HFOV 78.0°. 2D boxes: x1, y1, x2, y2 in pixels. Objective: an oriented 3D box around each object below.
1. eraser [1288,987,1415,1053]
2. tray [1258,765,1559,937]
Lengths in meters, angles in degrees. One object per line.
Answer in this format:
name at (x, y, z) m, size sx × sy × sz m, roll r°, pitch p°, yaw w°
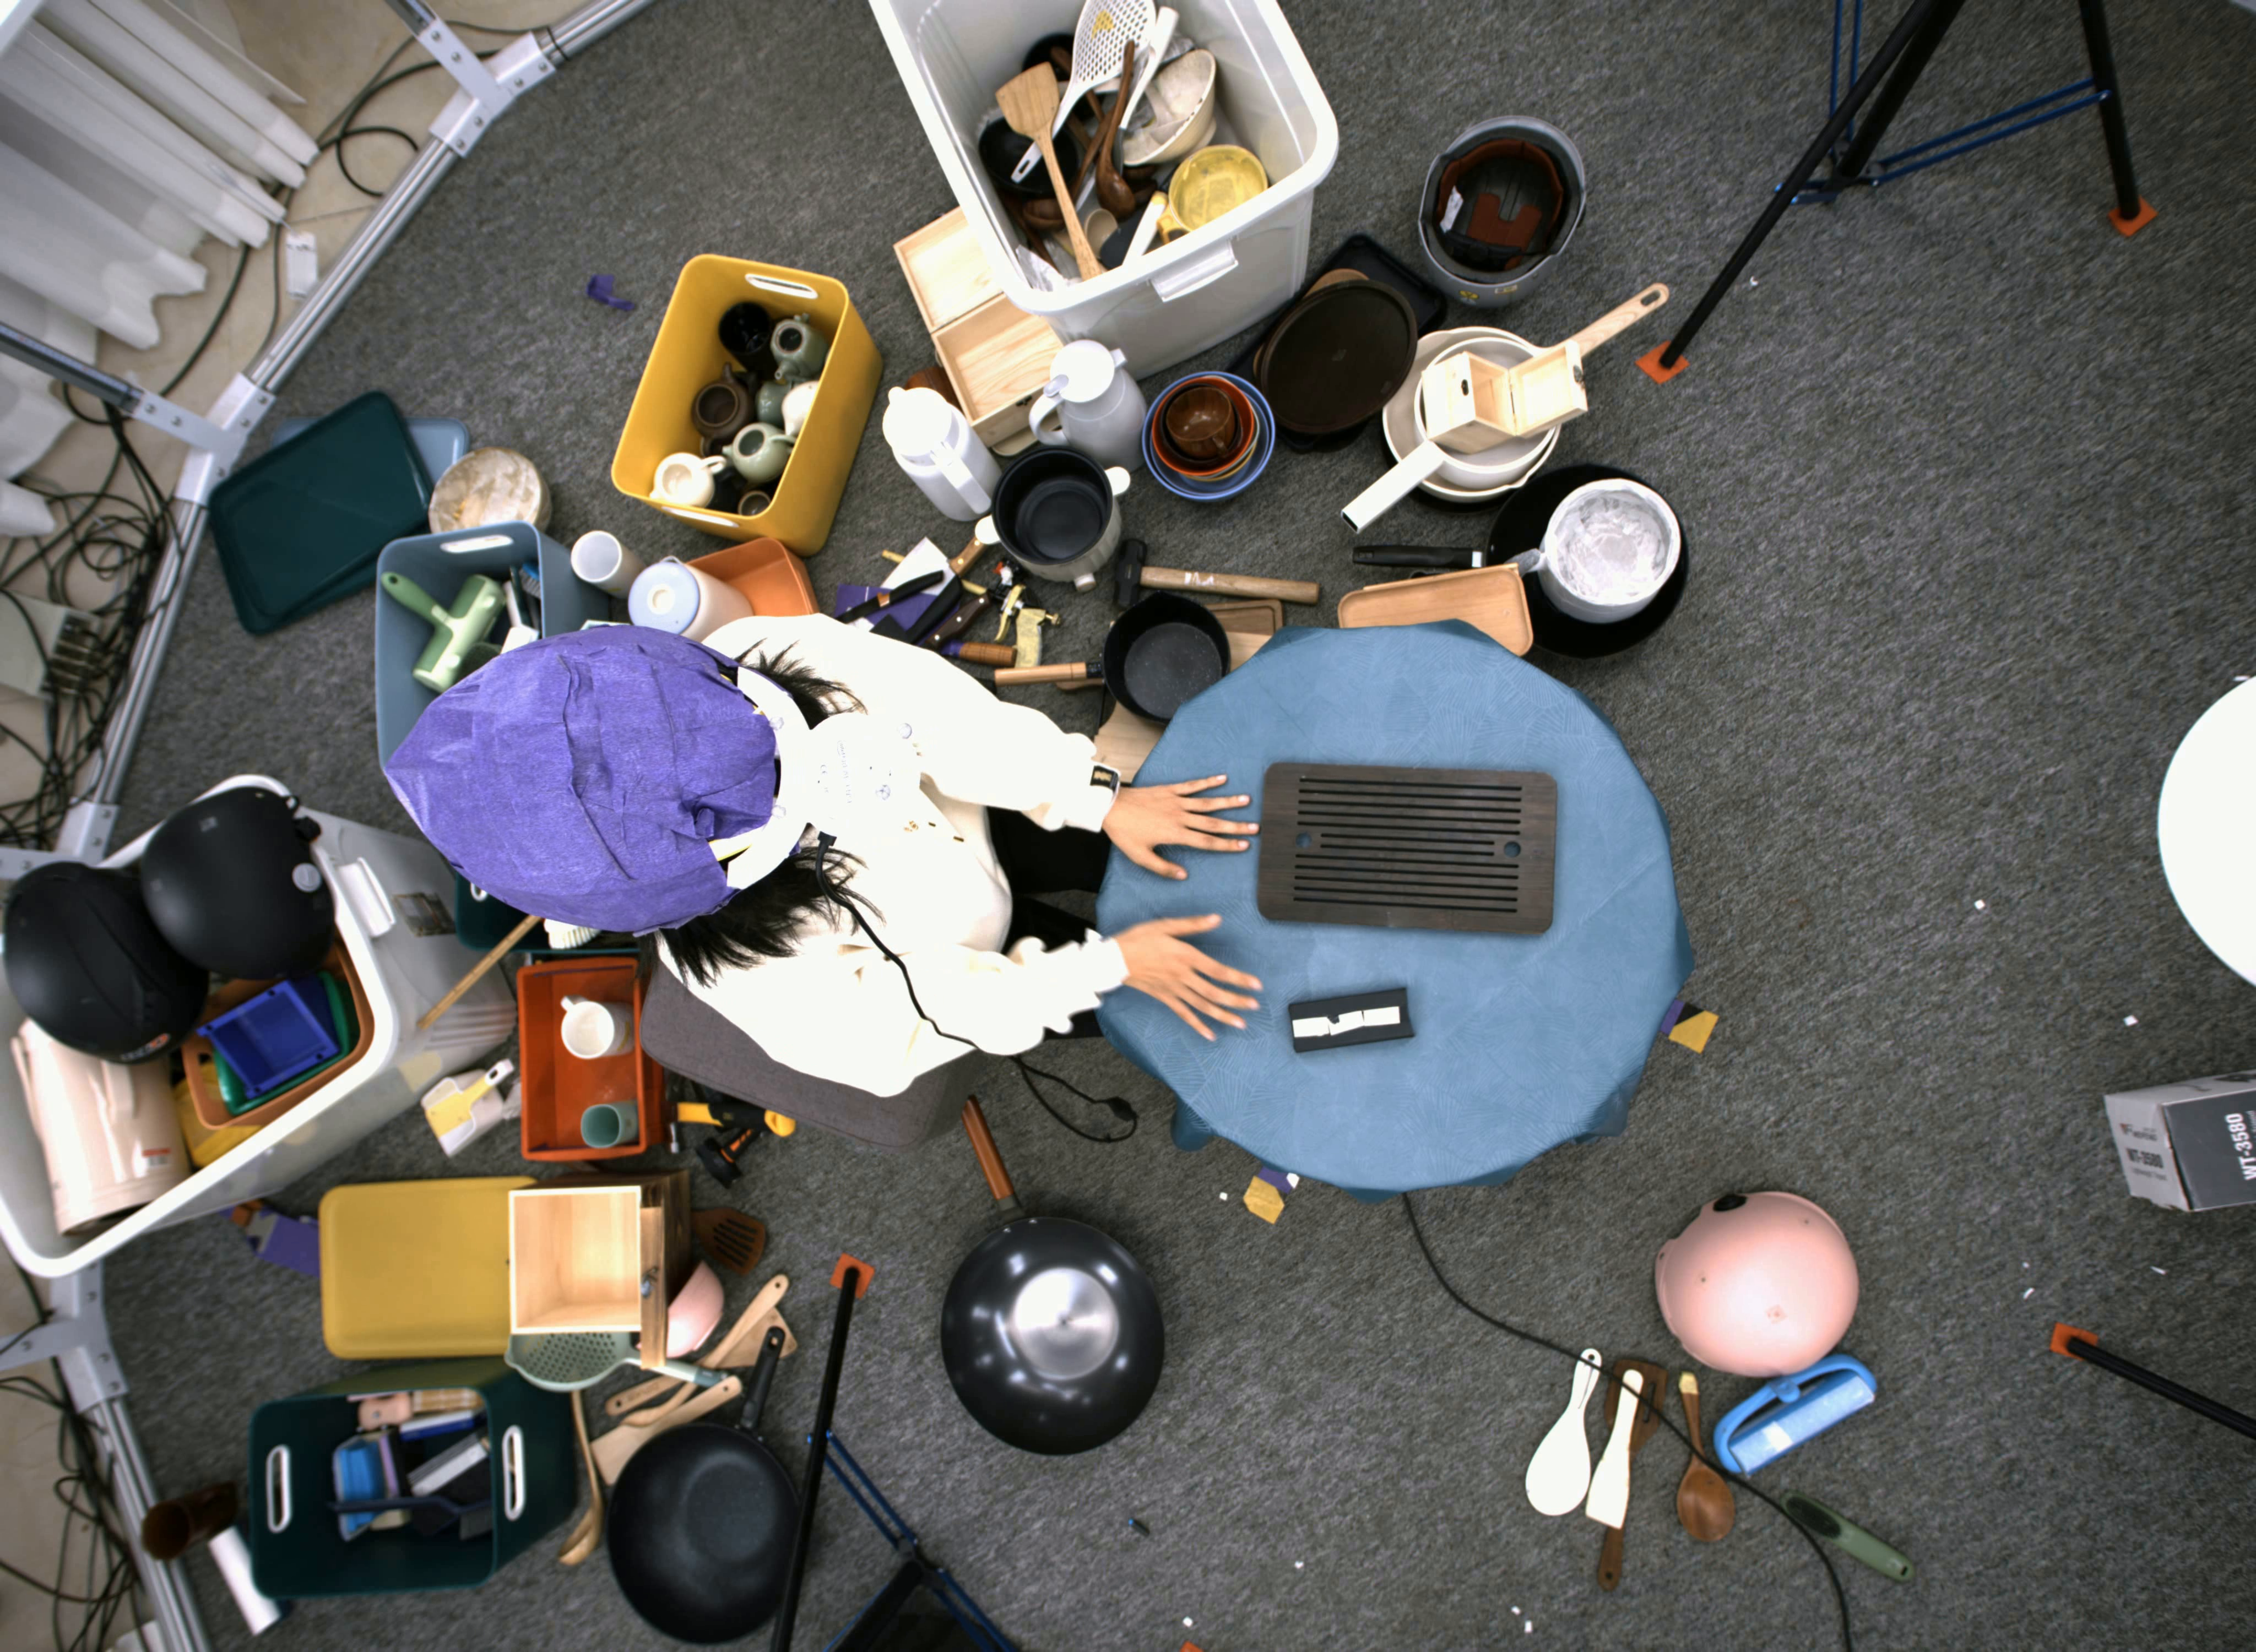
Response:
eraser at (0.233, 0.201, 1.446) m, size 0.126 × 0.030 × 0.053 m, roll -10°, pitch 81°, yaw 10°
tray at (0.293, 0.024, 1.449) m, size 0.307 × 0.018 × 0.169 m, roll 2°, pitch 87°, yaw 11°
